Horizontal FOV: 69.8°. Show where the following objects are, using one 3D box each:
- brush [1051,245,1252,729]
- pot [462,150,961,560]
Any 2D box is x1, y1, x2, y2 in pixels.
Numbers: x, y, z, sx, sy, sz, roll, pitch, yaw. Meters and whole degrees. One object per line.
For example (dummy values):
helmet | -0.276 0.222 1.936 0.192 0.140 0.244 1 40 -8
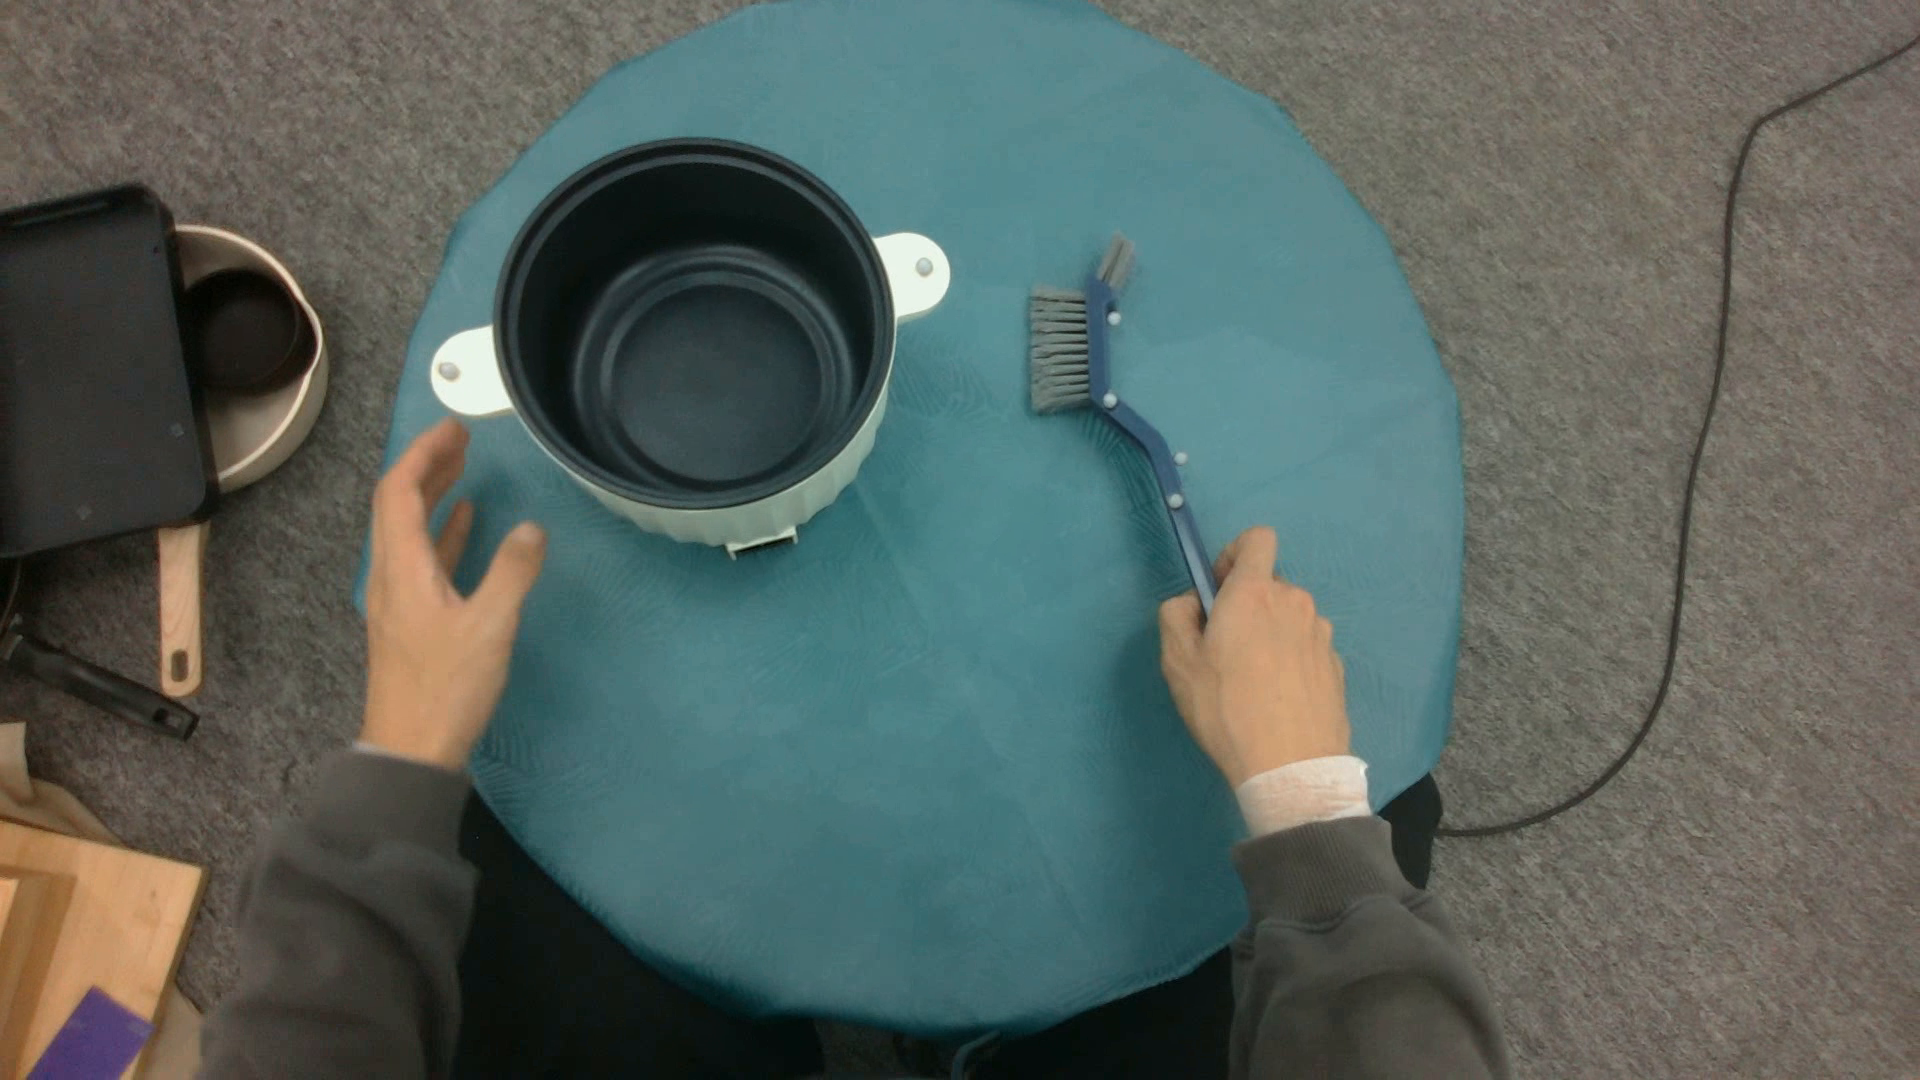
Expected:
brush | 0.123 -0.034 0.756 0.096 0.033 0.273 -25 71 1
pot | -0.122 -0.092 0.711 0.240 0.142 0.190 -15 83 -8
